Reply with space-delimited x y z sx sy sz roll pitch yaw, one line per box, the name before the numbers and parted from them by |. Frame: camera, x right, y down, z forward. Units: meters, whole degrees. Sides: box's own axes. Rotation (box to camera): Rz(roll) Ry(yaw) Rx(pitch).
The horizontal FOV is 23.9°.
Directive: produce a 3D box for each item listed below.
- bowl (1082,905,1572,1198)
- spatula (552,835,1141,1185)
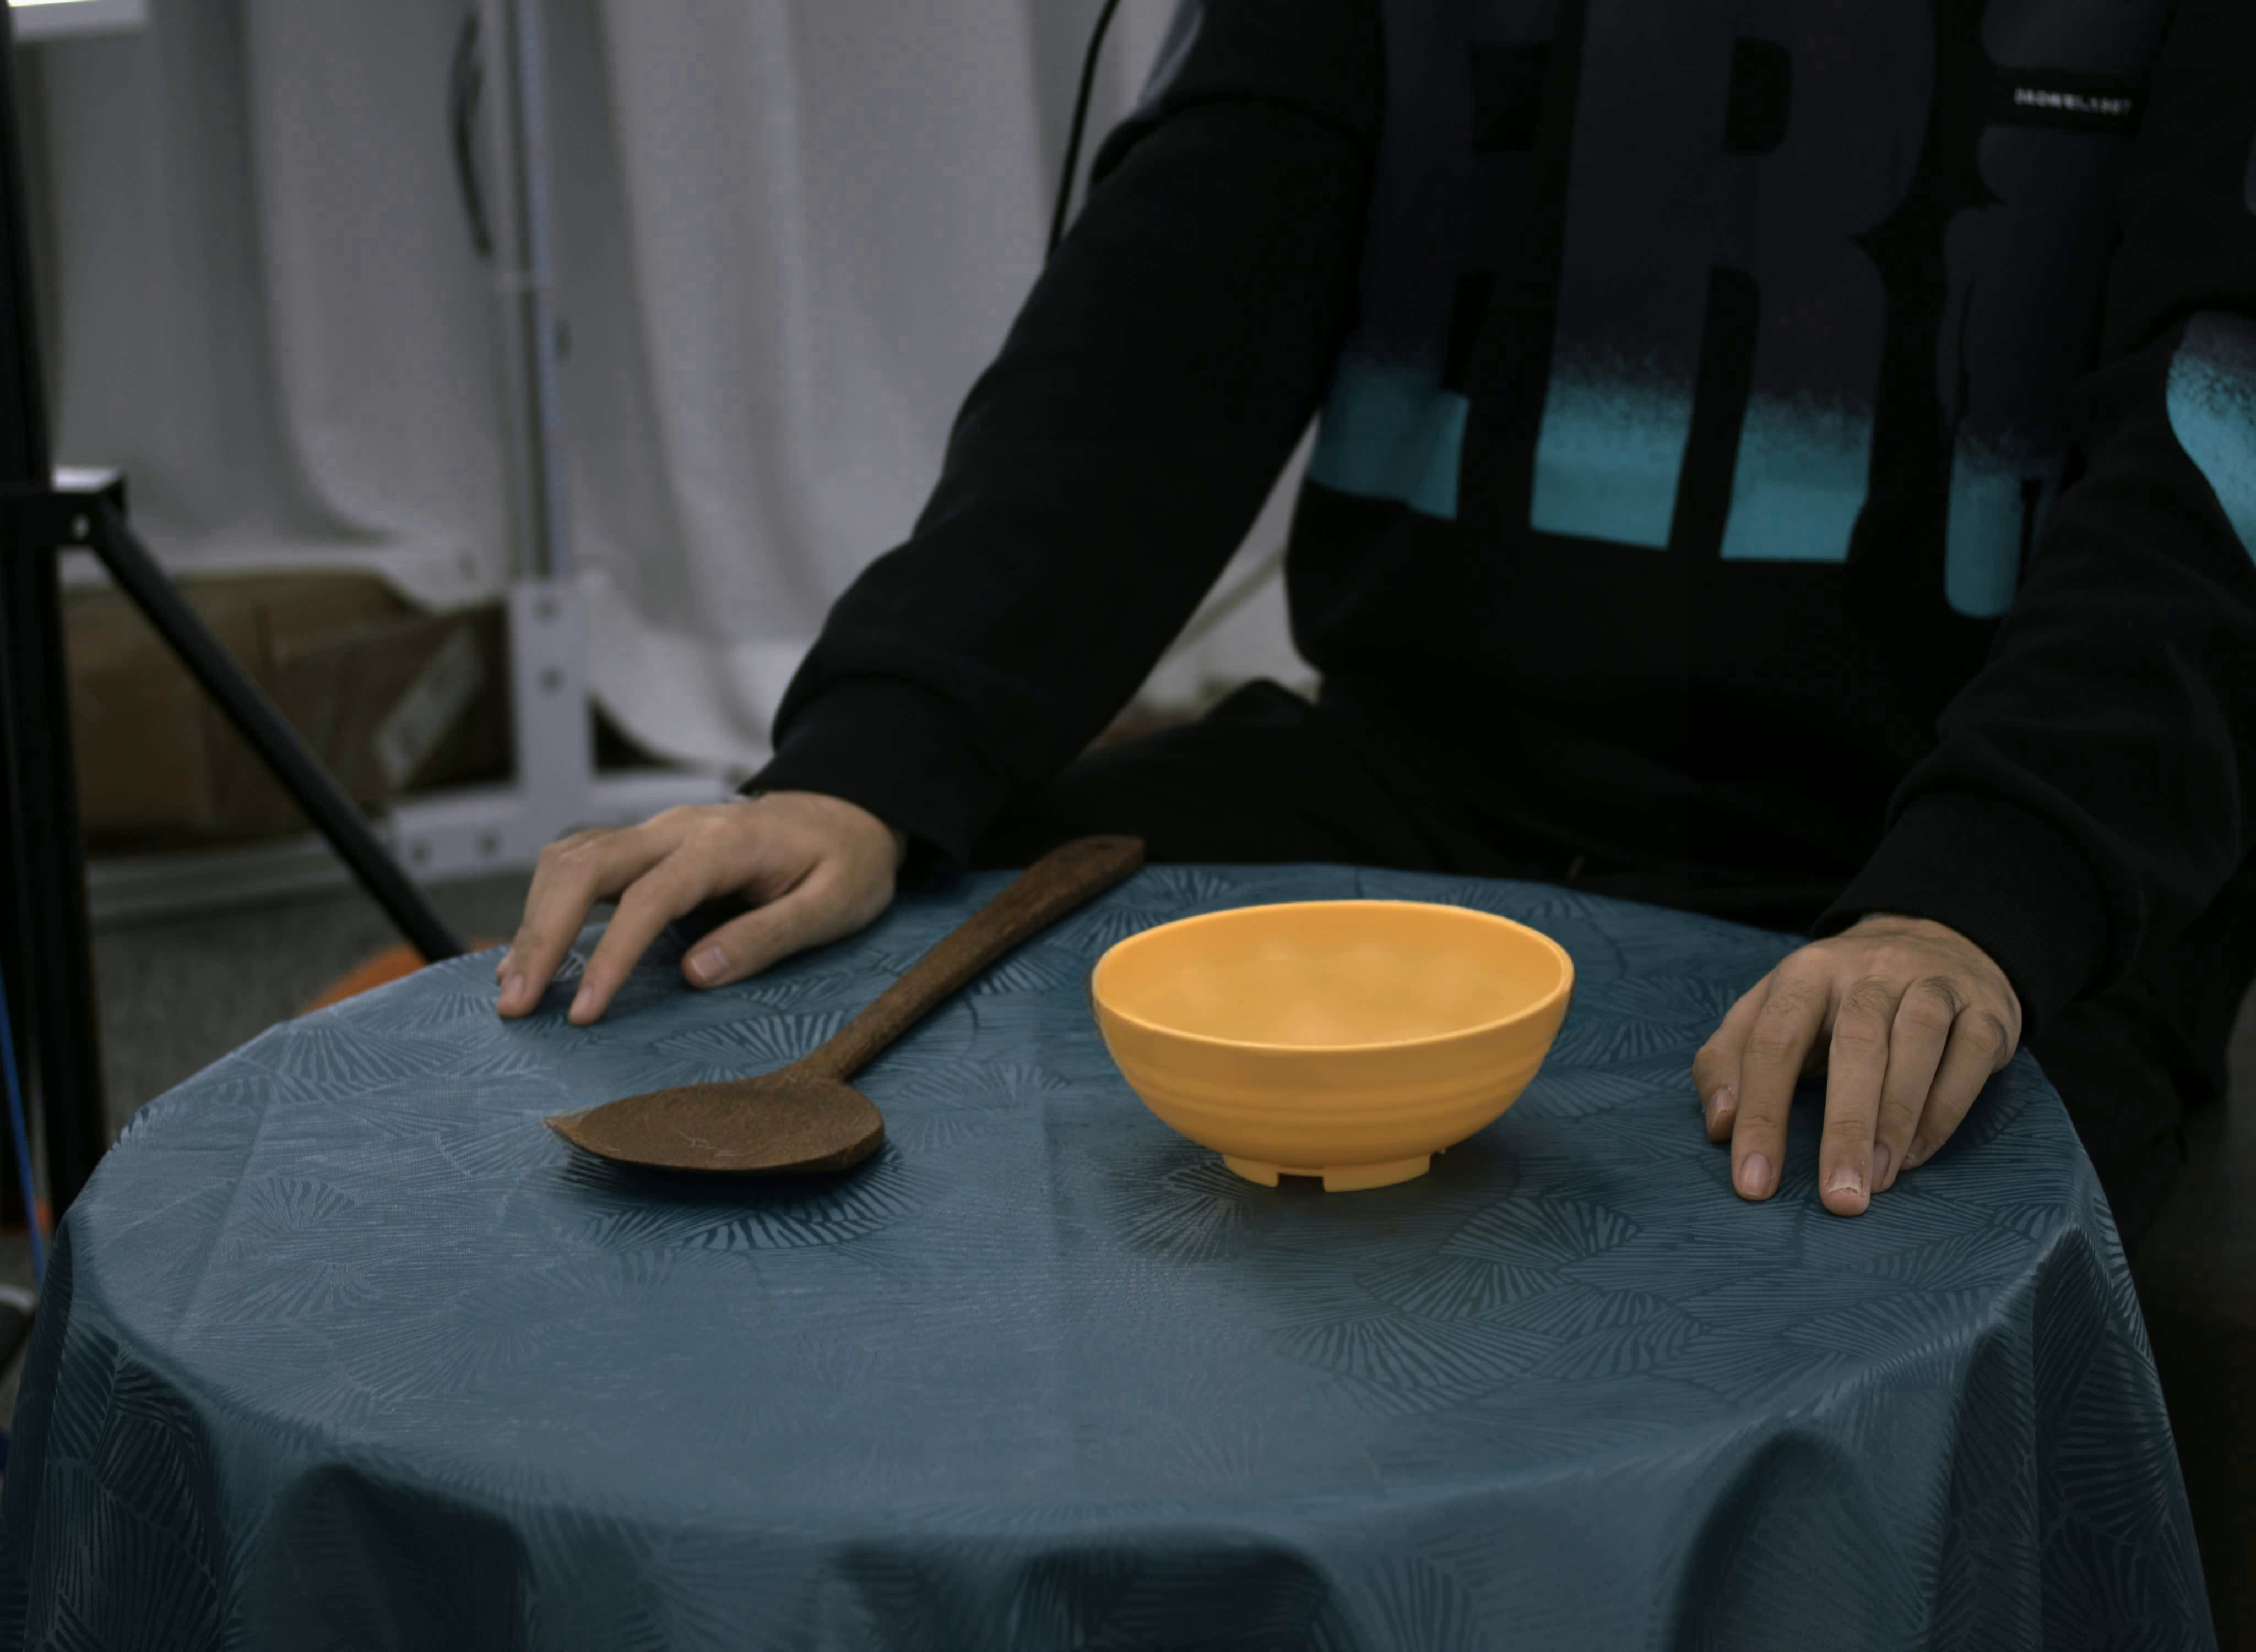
bowl | 0.058 0.072 1.574 0.144 0.060 0.146 0 15 -1
spatula | -0.069 0.054 1.736 0.097 0.016 0.381 4 17 20
